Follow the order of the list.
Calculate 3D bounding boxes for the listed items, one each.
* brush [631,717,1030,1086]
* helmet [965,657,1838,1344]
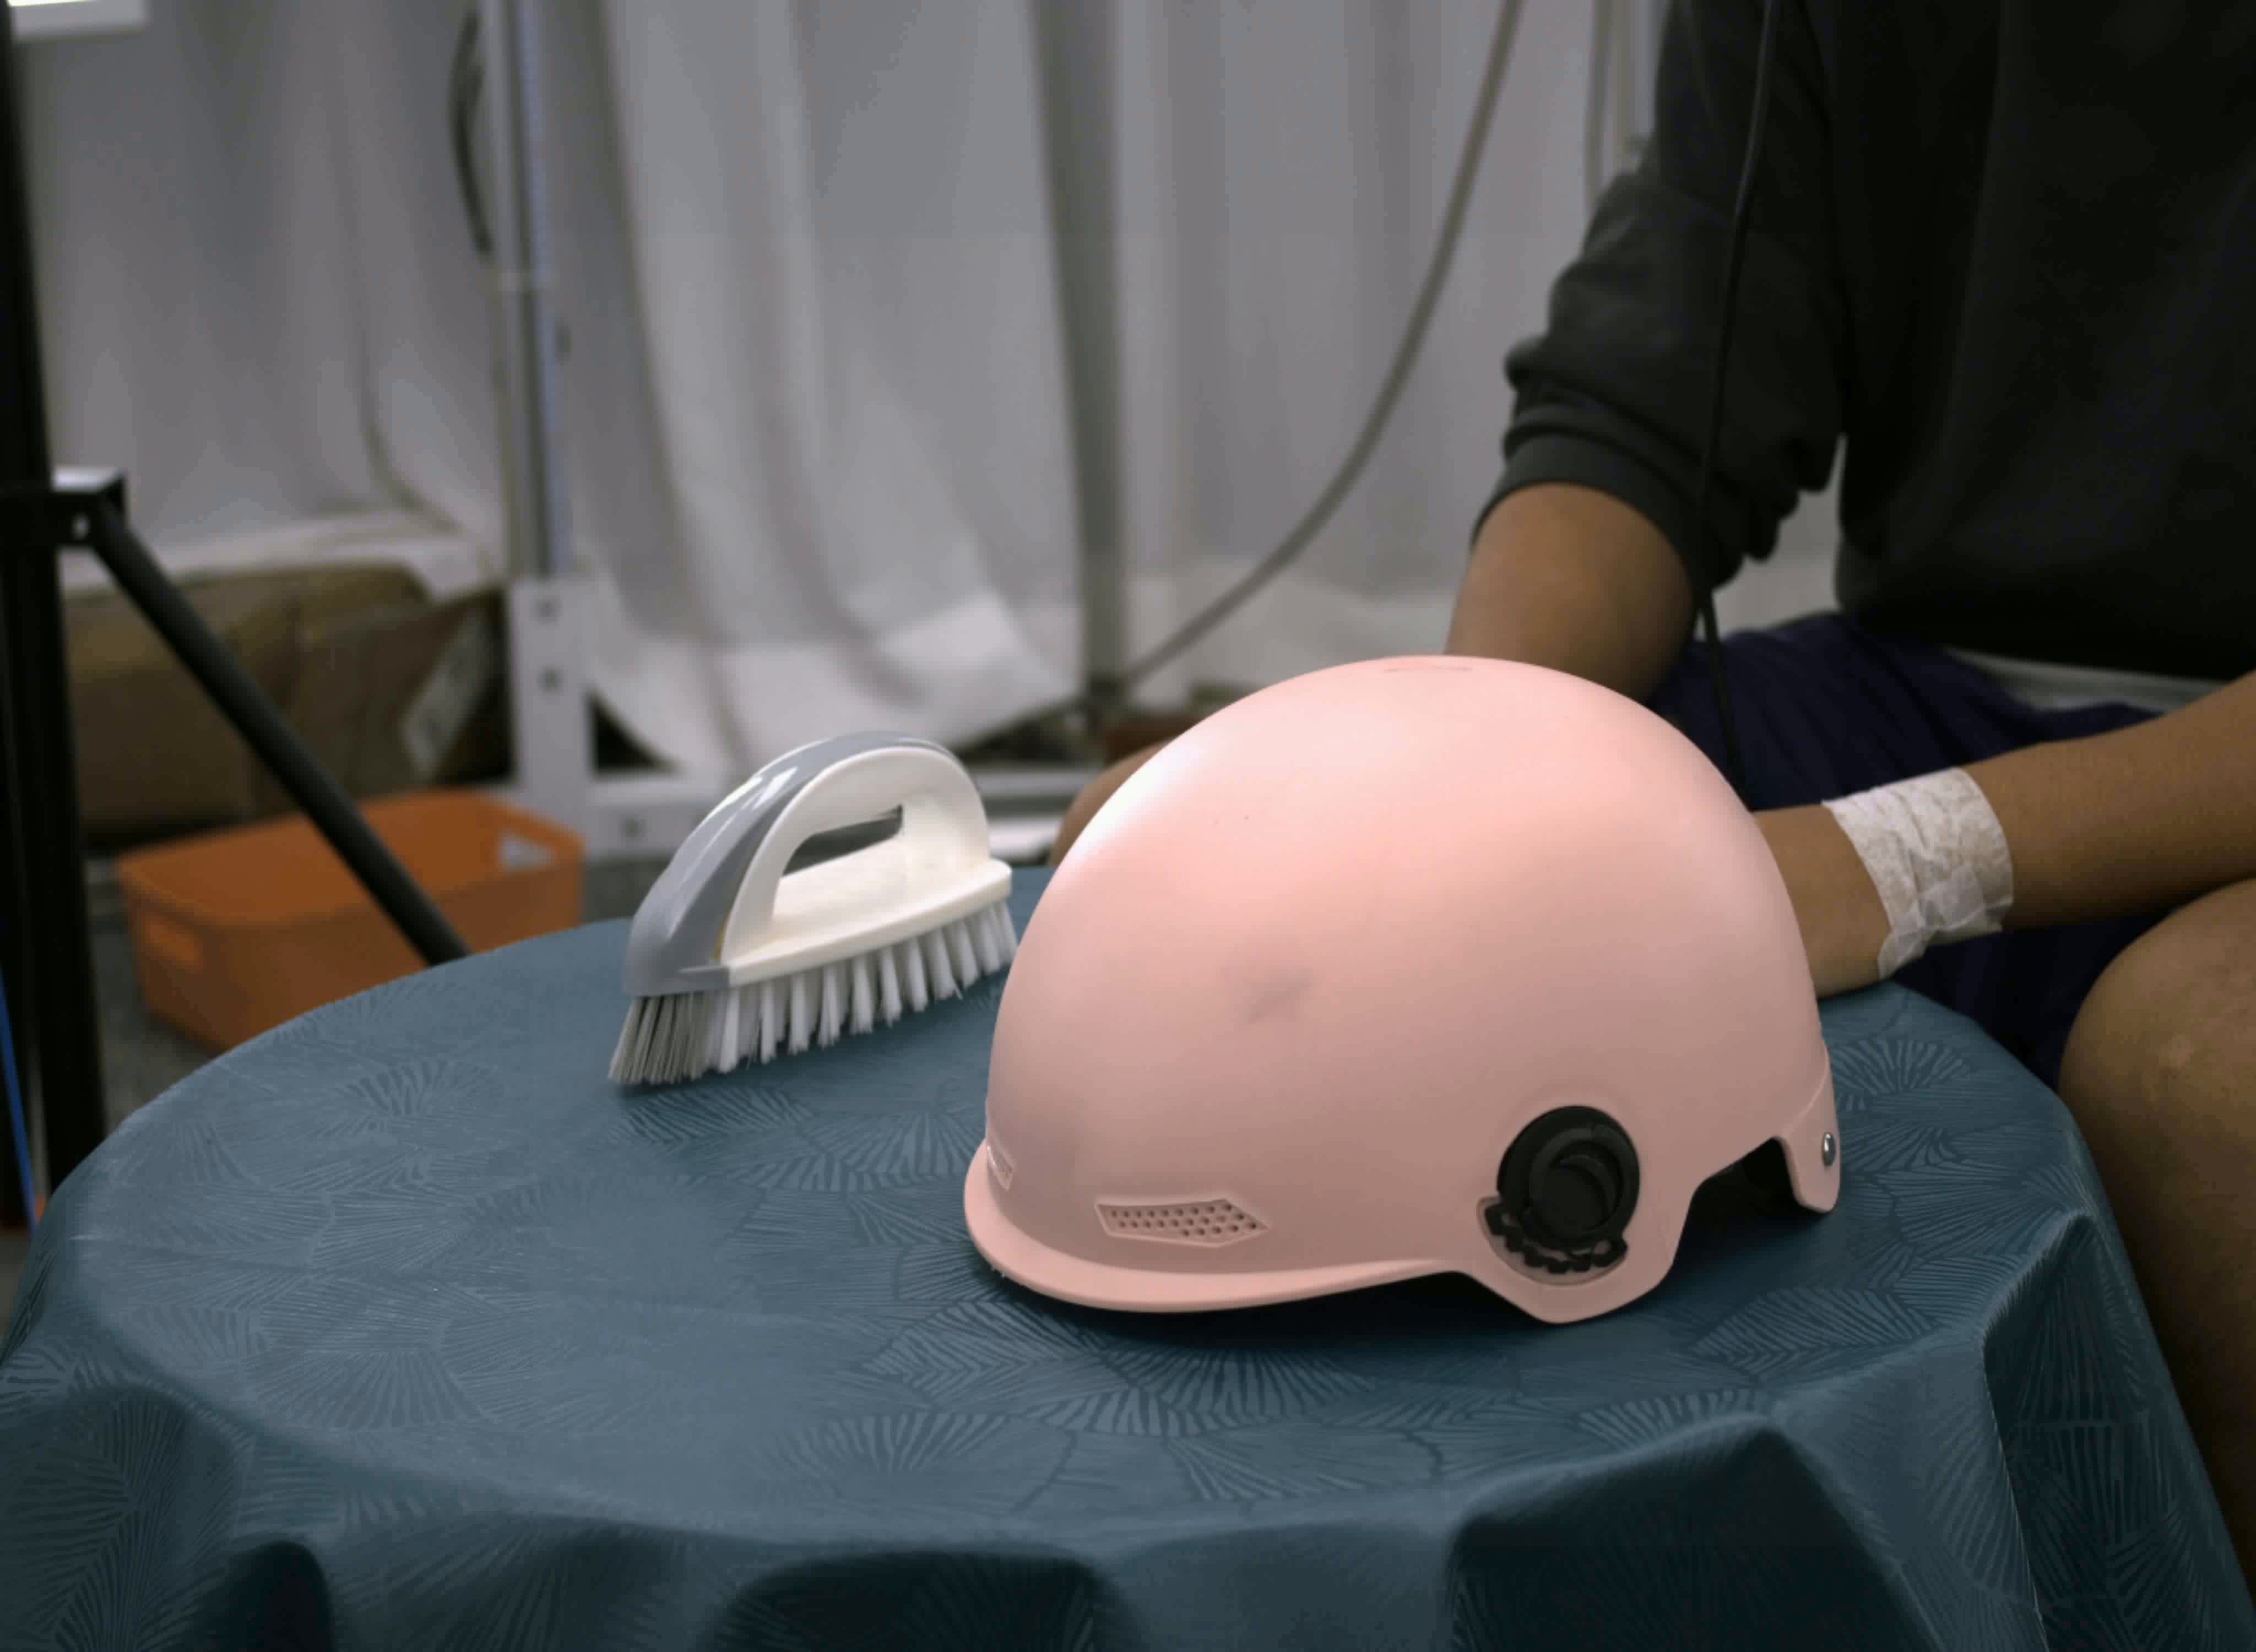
[{"bbox_3d":[-0.104,0.020,1.720,0.063,0.094,0.172,9,21,37],"label":"brush"},{"bbox_3d":[0.074,0.039,1.518,0.260,0.158,0.239,-17,22,-32],"label":"helmet"}]
